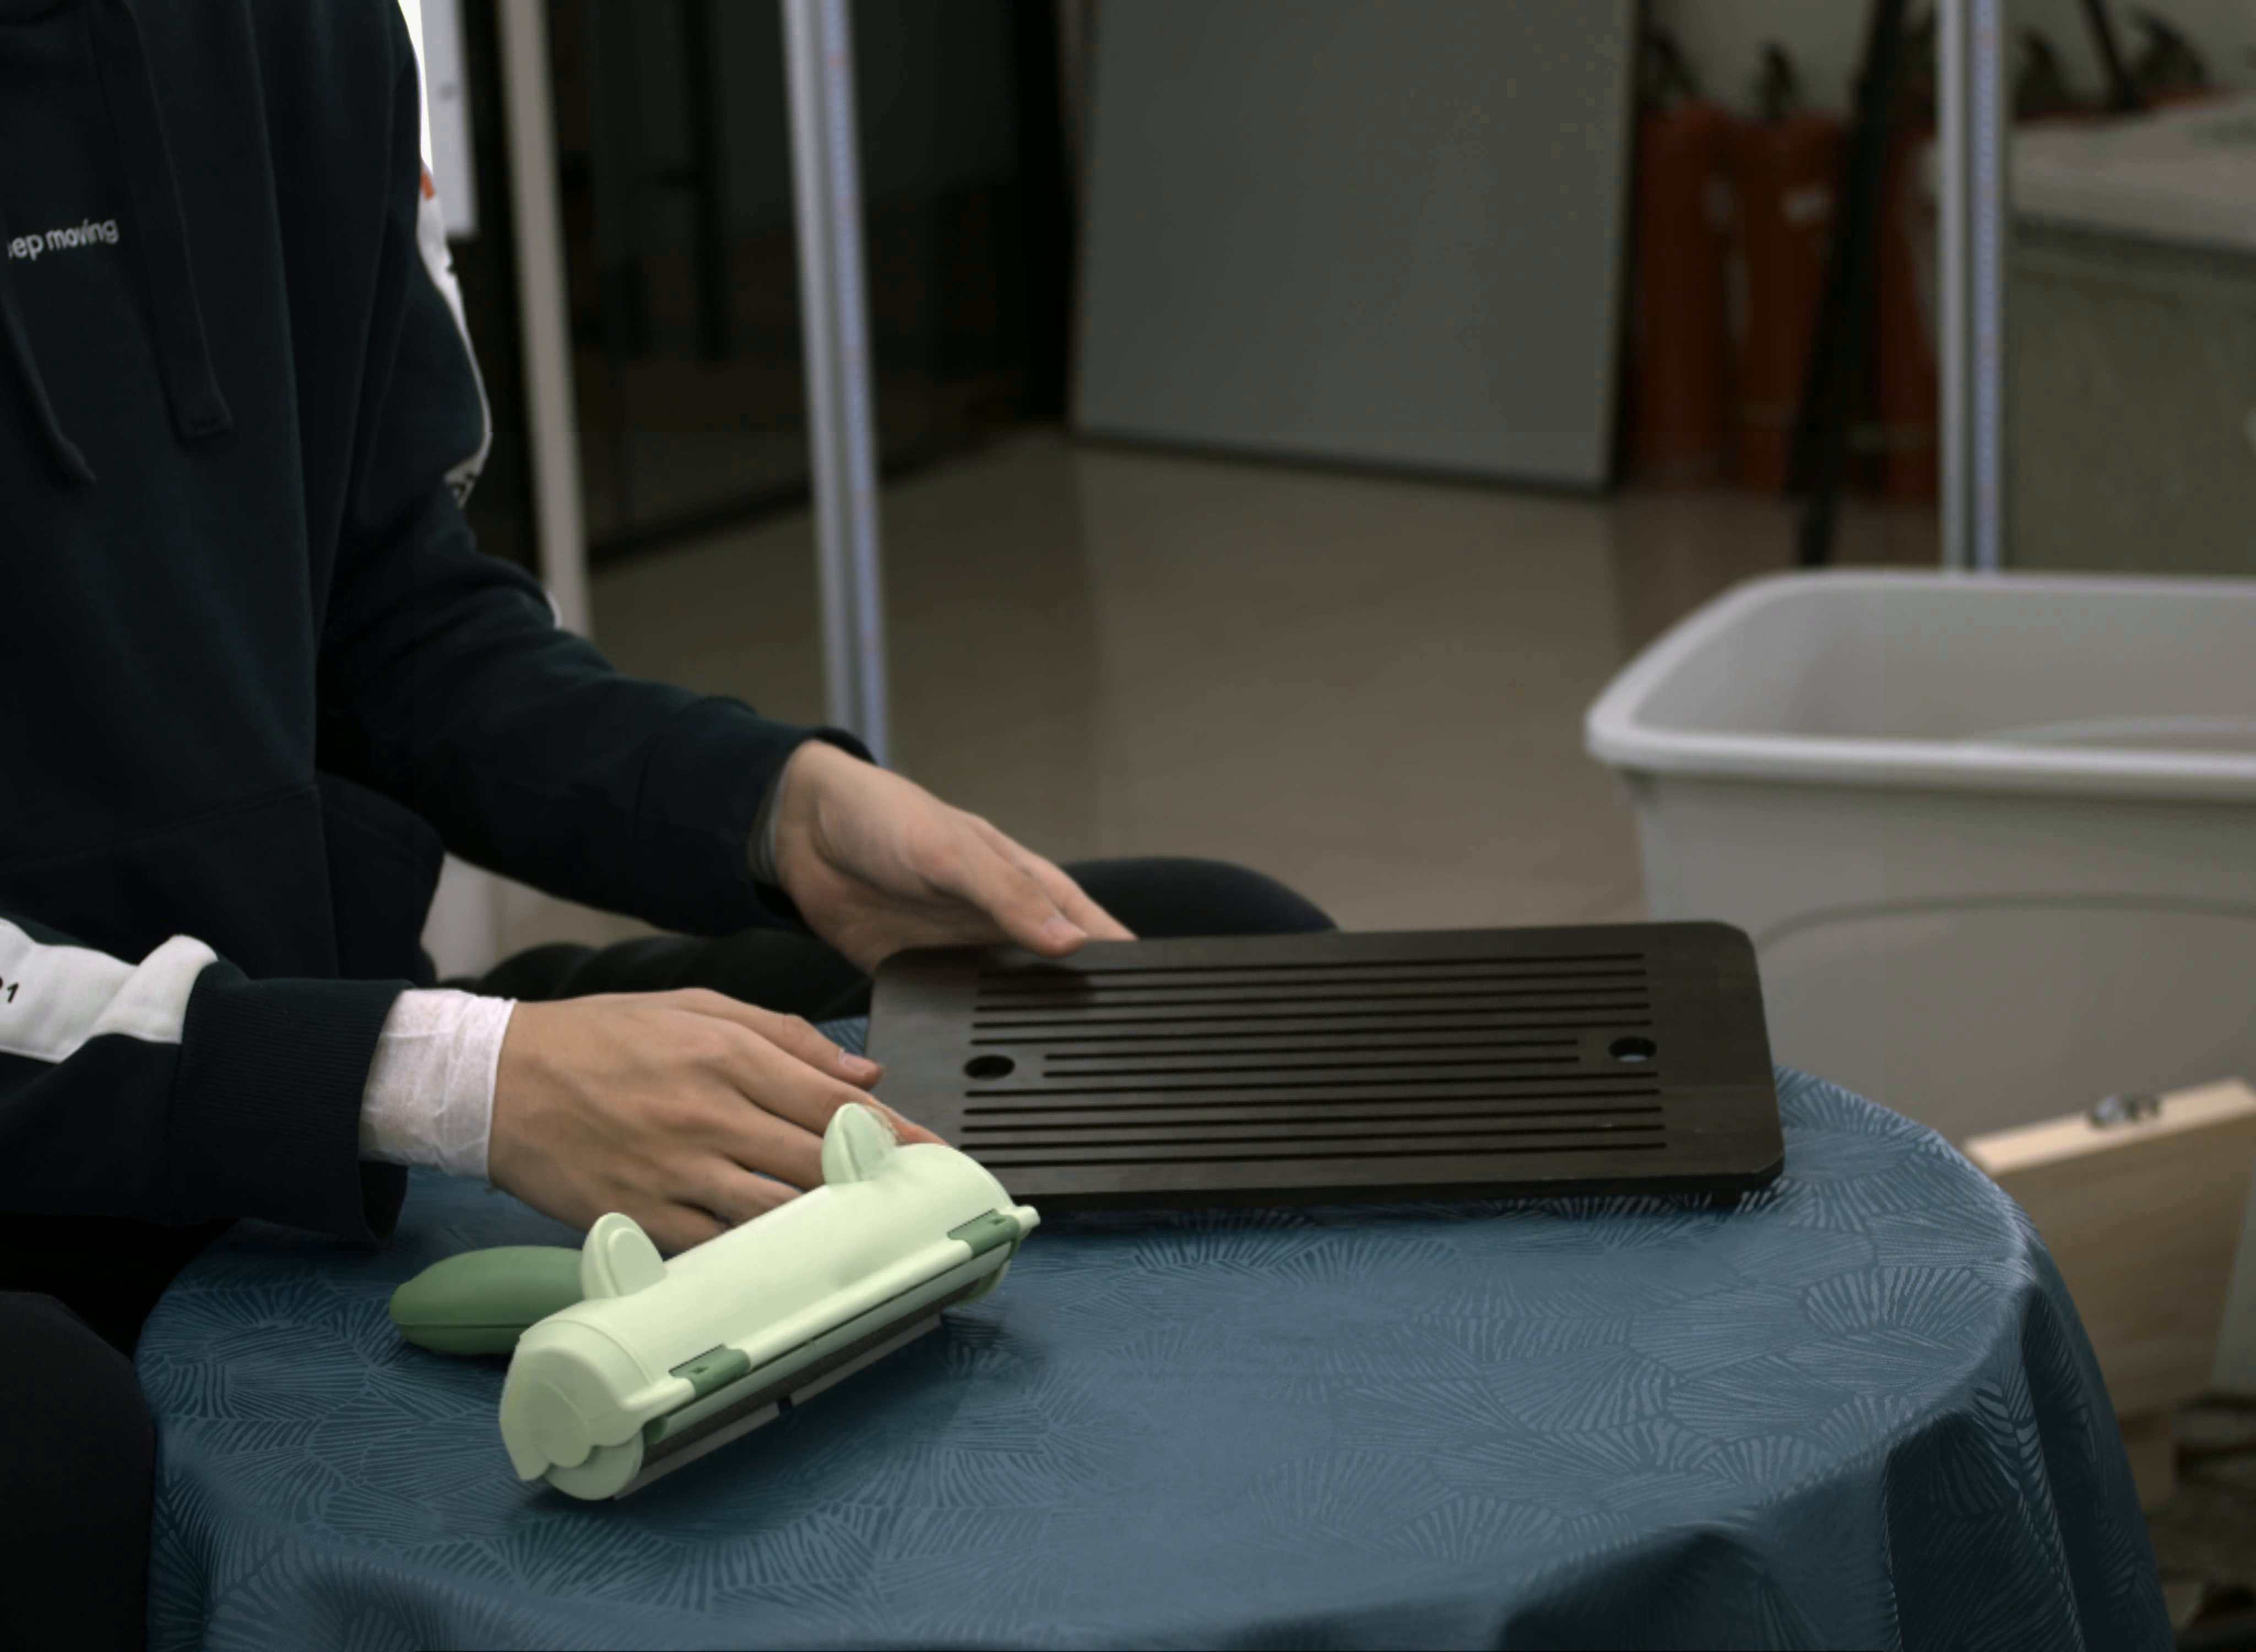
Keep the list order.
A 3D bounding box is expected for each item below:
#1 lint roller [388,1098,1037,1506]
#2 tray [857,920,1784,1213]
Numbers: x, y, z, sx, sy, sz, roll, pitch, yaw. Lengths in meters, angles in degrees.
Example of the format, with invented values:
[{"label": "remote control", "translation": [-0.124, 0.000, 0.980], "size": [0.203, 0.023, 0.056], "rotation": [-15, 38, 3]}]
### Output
[{"label": "lint roller", "translation": [-0.152, 0.129, 1.615], "size": [0.184, 0.083, 0.195], "rotation": [9, 19, 34]}, {"label": "tray", "translation": [0.062, 0.083, 1.795], "size": [0.302, 0.019, 0.170], "rotation": [-3, 26, 4]}]
